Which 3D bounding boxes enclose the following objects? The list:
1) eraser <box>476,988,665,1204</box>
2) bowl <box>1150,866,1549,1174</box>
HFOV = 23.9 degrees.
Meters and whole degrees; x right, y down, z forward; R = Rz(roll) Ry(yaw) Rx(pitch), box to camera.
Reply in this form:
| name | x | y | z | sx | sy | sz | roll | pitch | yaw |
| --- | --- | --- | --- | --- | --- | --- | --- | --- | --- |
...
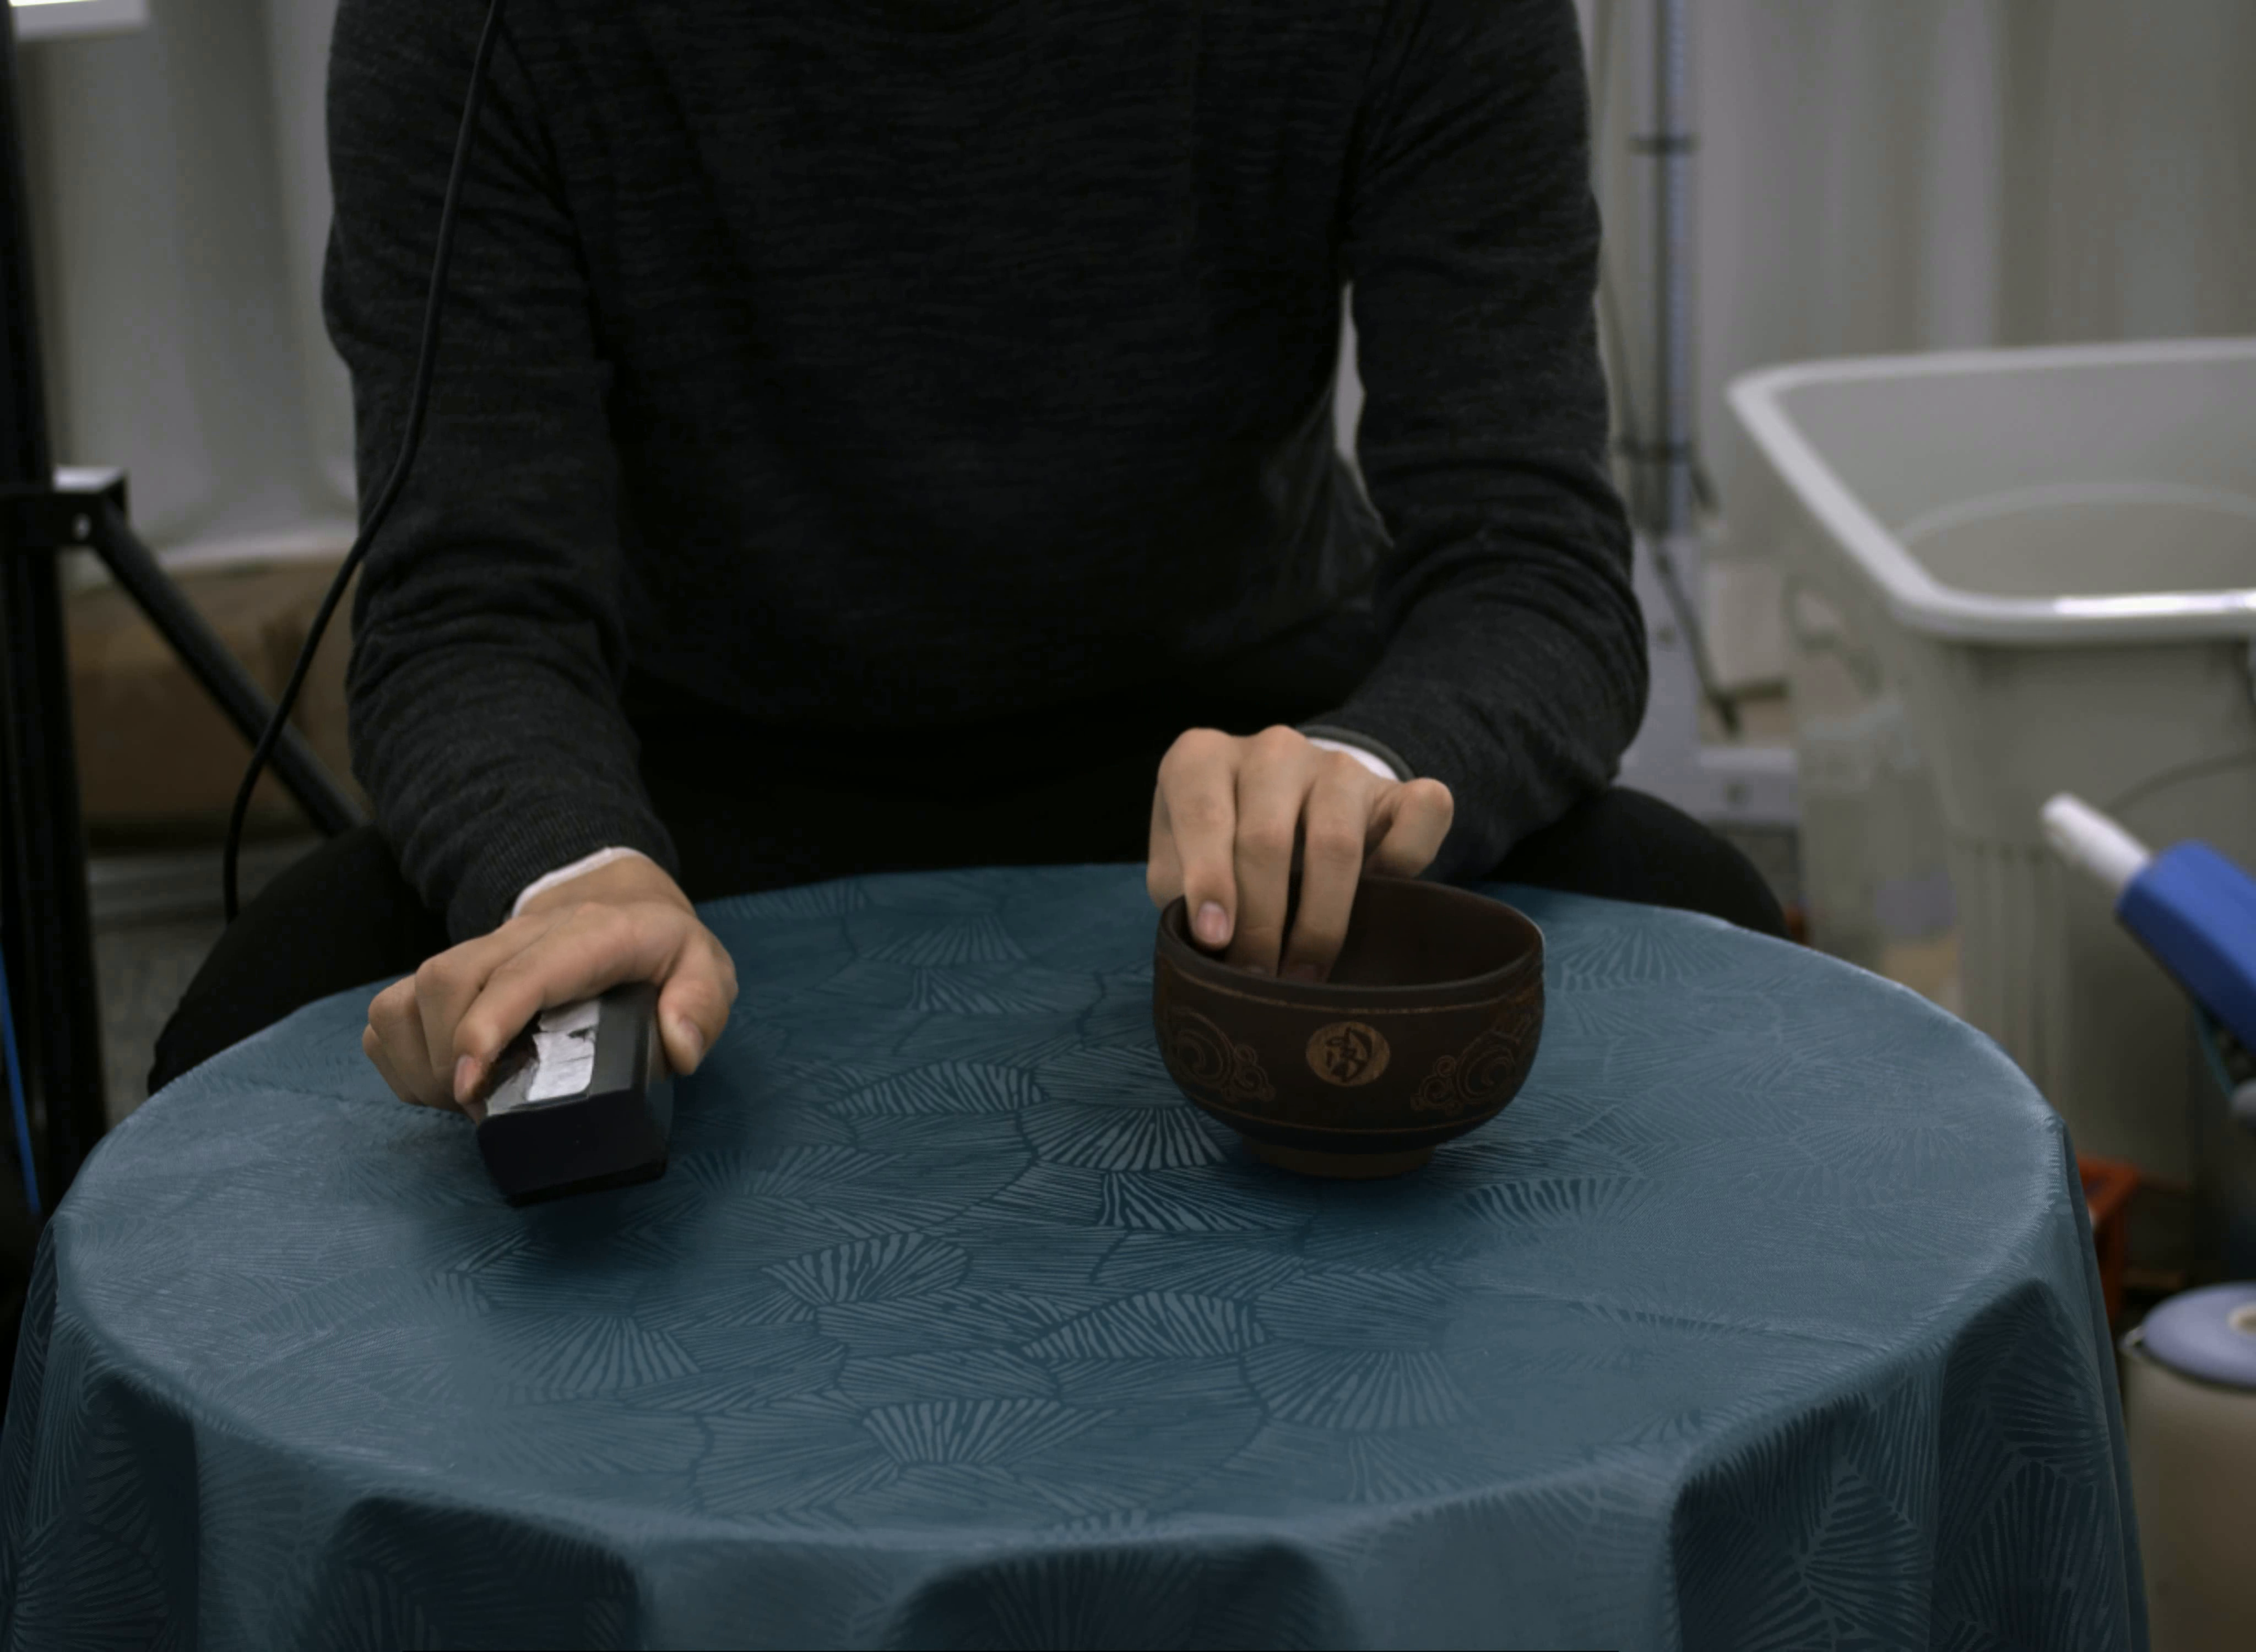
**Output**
| name | x | y | z | sx | sy | sz | roll | pitch | yaw |
| --- | --- | --- | --- | --- | --- | --- | --- | --- | --- |
| eraser | -0.162 | 0.078 | 1.566 | 0.053 | 0.030 | 0.126 | -10 | 13 | -3 |
| bowl | 0.064 | 0.061 | 1.570 | 0.117 | 0.070 | 0.118 | 3 | 15 | -2 |
